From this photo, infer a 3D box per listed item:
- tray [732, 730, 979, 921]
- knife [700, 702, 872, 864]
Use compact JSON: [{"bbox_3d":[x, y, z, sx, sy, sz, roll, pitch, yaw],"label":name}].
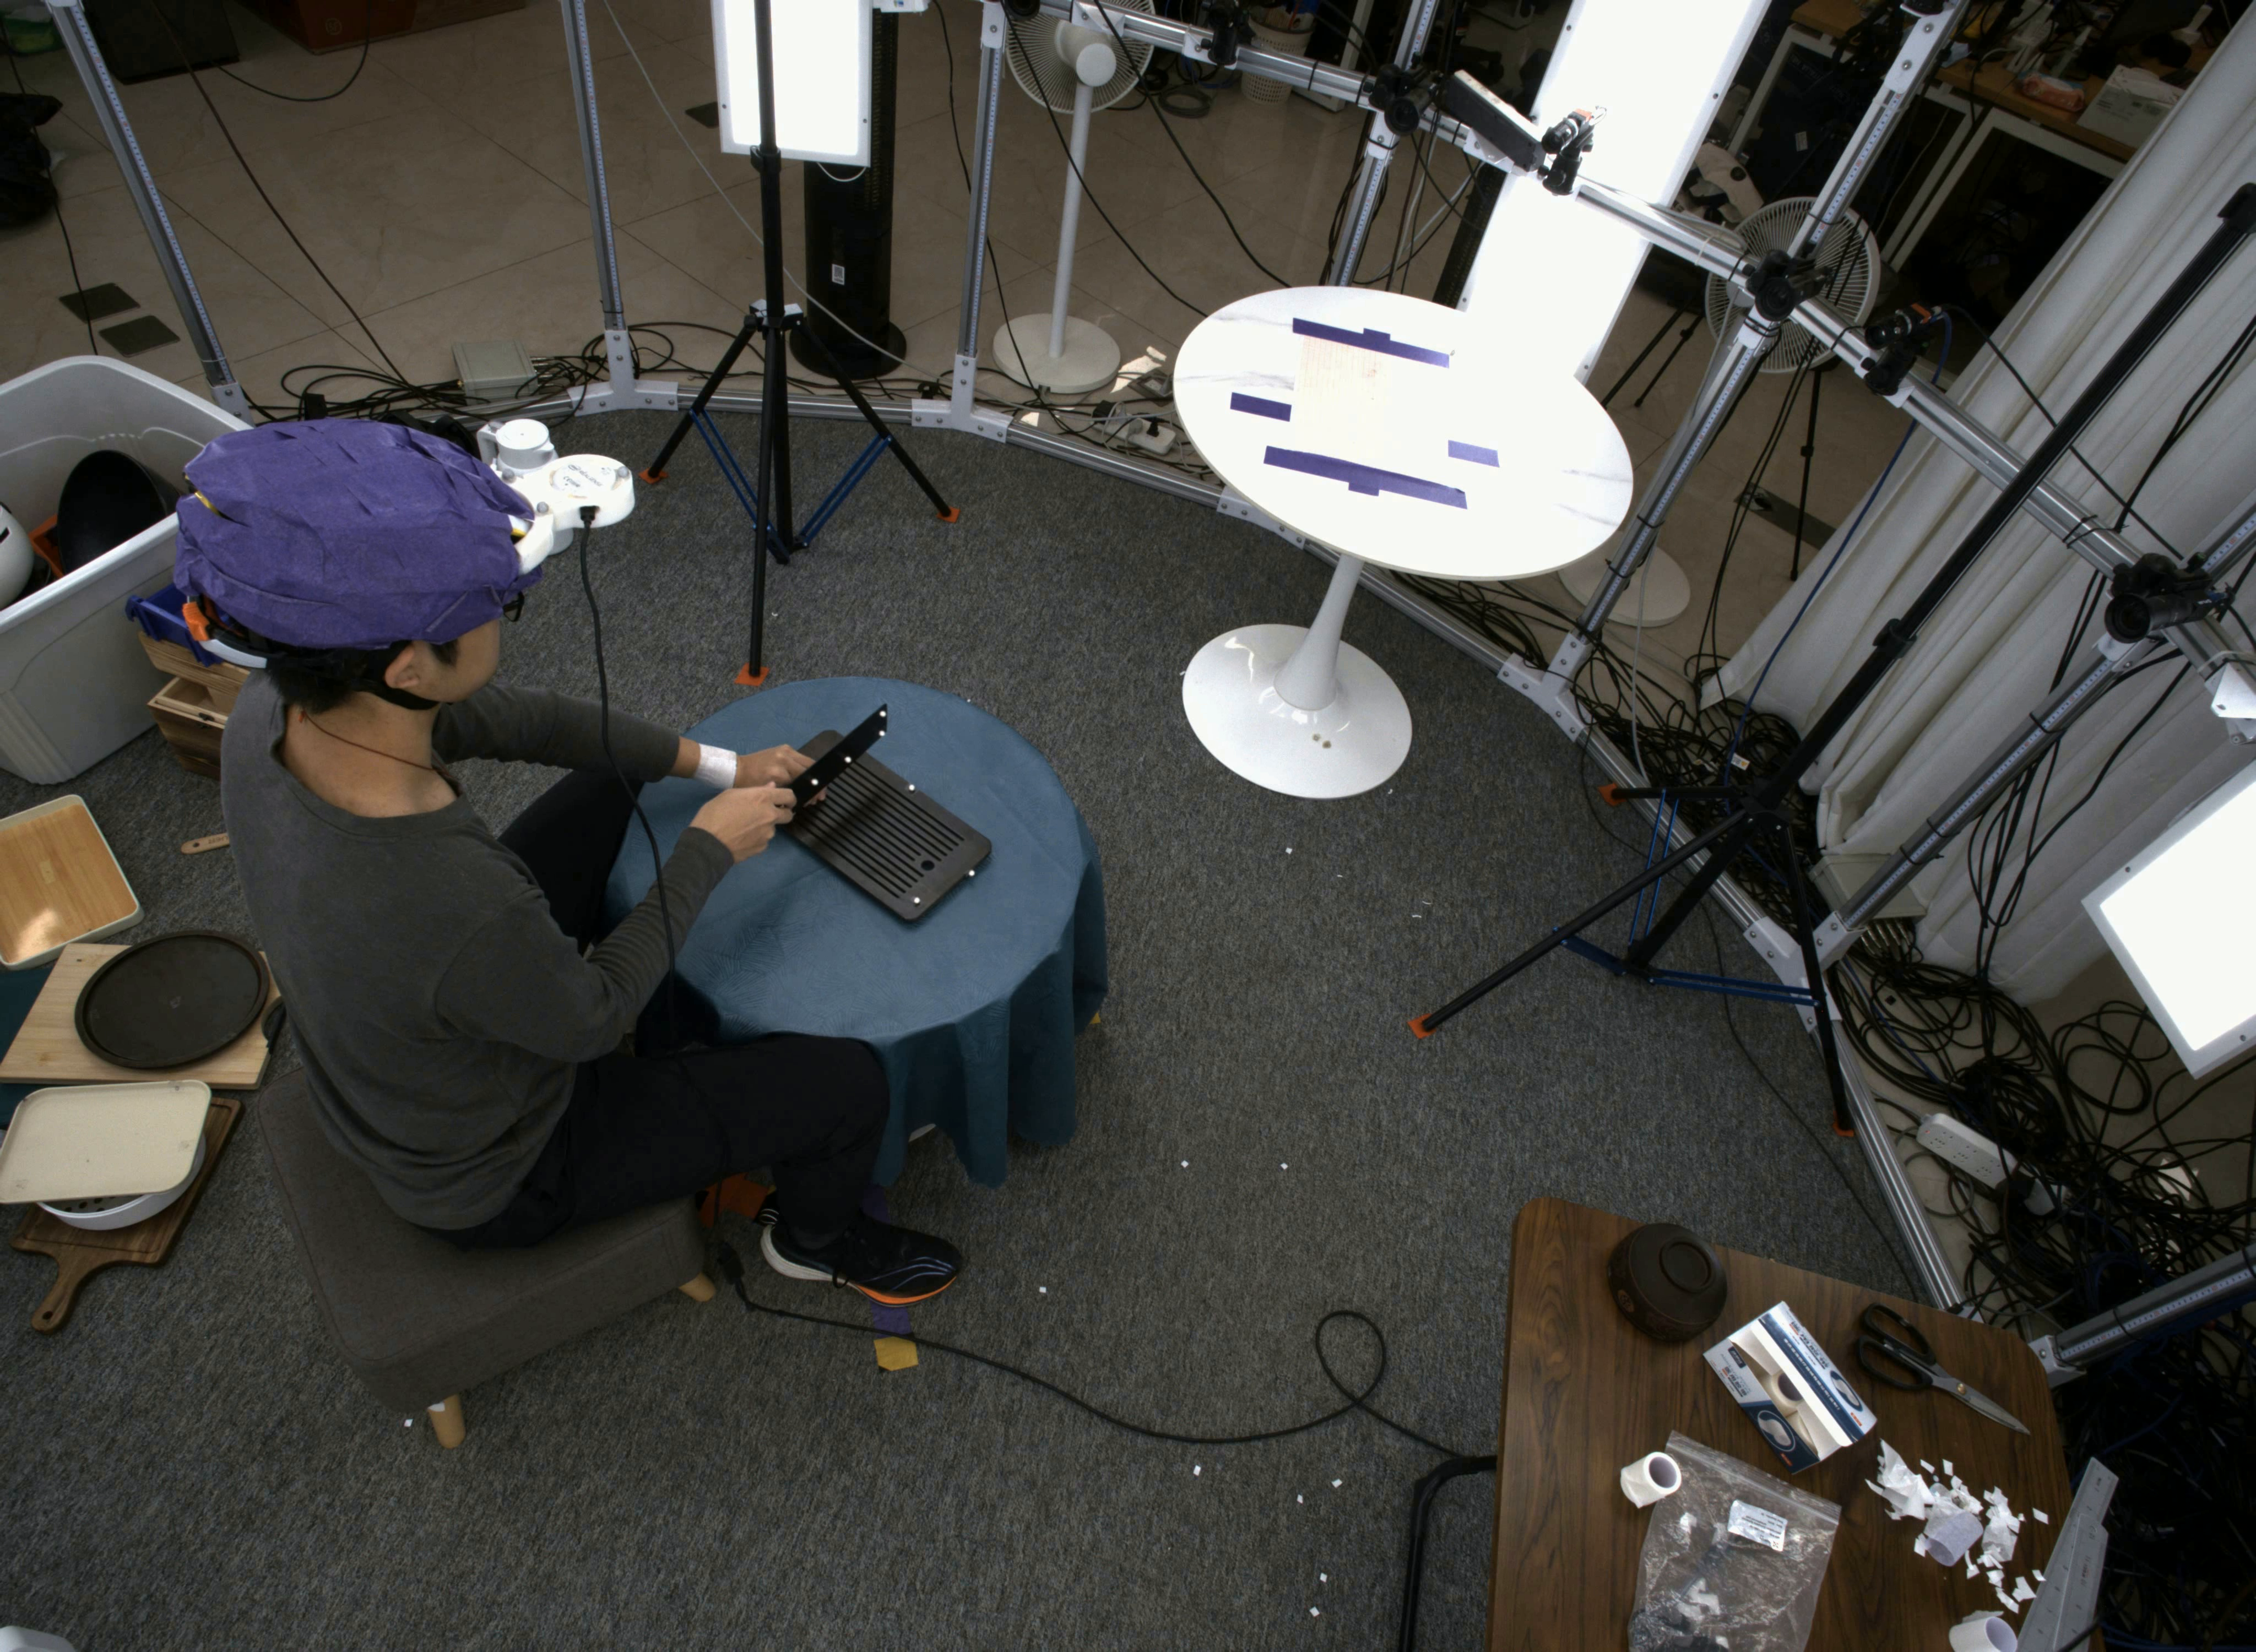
[{"bbox_3d":[-0.365,-0.005,1.742,0.300,0.019,0.170,34,54,12],"label":"tray"},{"bbox_3d":[-0.425,-0.053,1.635,0.020,0.083,0.302,32,52,15],"label":"knife"}]
